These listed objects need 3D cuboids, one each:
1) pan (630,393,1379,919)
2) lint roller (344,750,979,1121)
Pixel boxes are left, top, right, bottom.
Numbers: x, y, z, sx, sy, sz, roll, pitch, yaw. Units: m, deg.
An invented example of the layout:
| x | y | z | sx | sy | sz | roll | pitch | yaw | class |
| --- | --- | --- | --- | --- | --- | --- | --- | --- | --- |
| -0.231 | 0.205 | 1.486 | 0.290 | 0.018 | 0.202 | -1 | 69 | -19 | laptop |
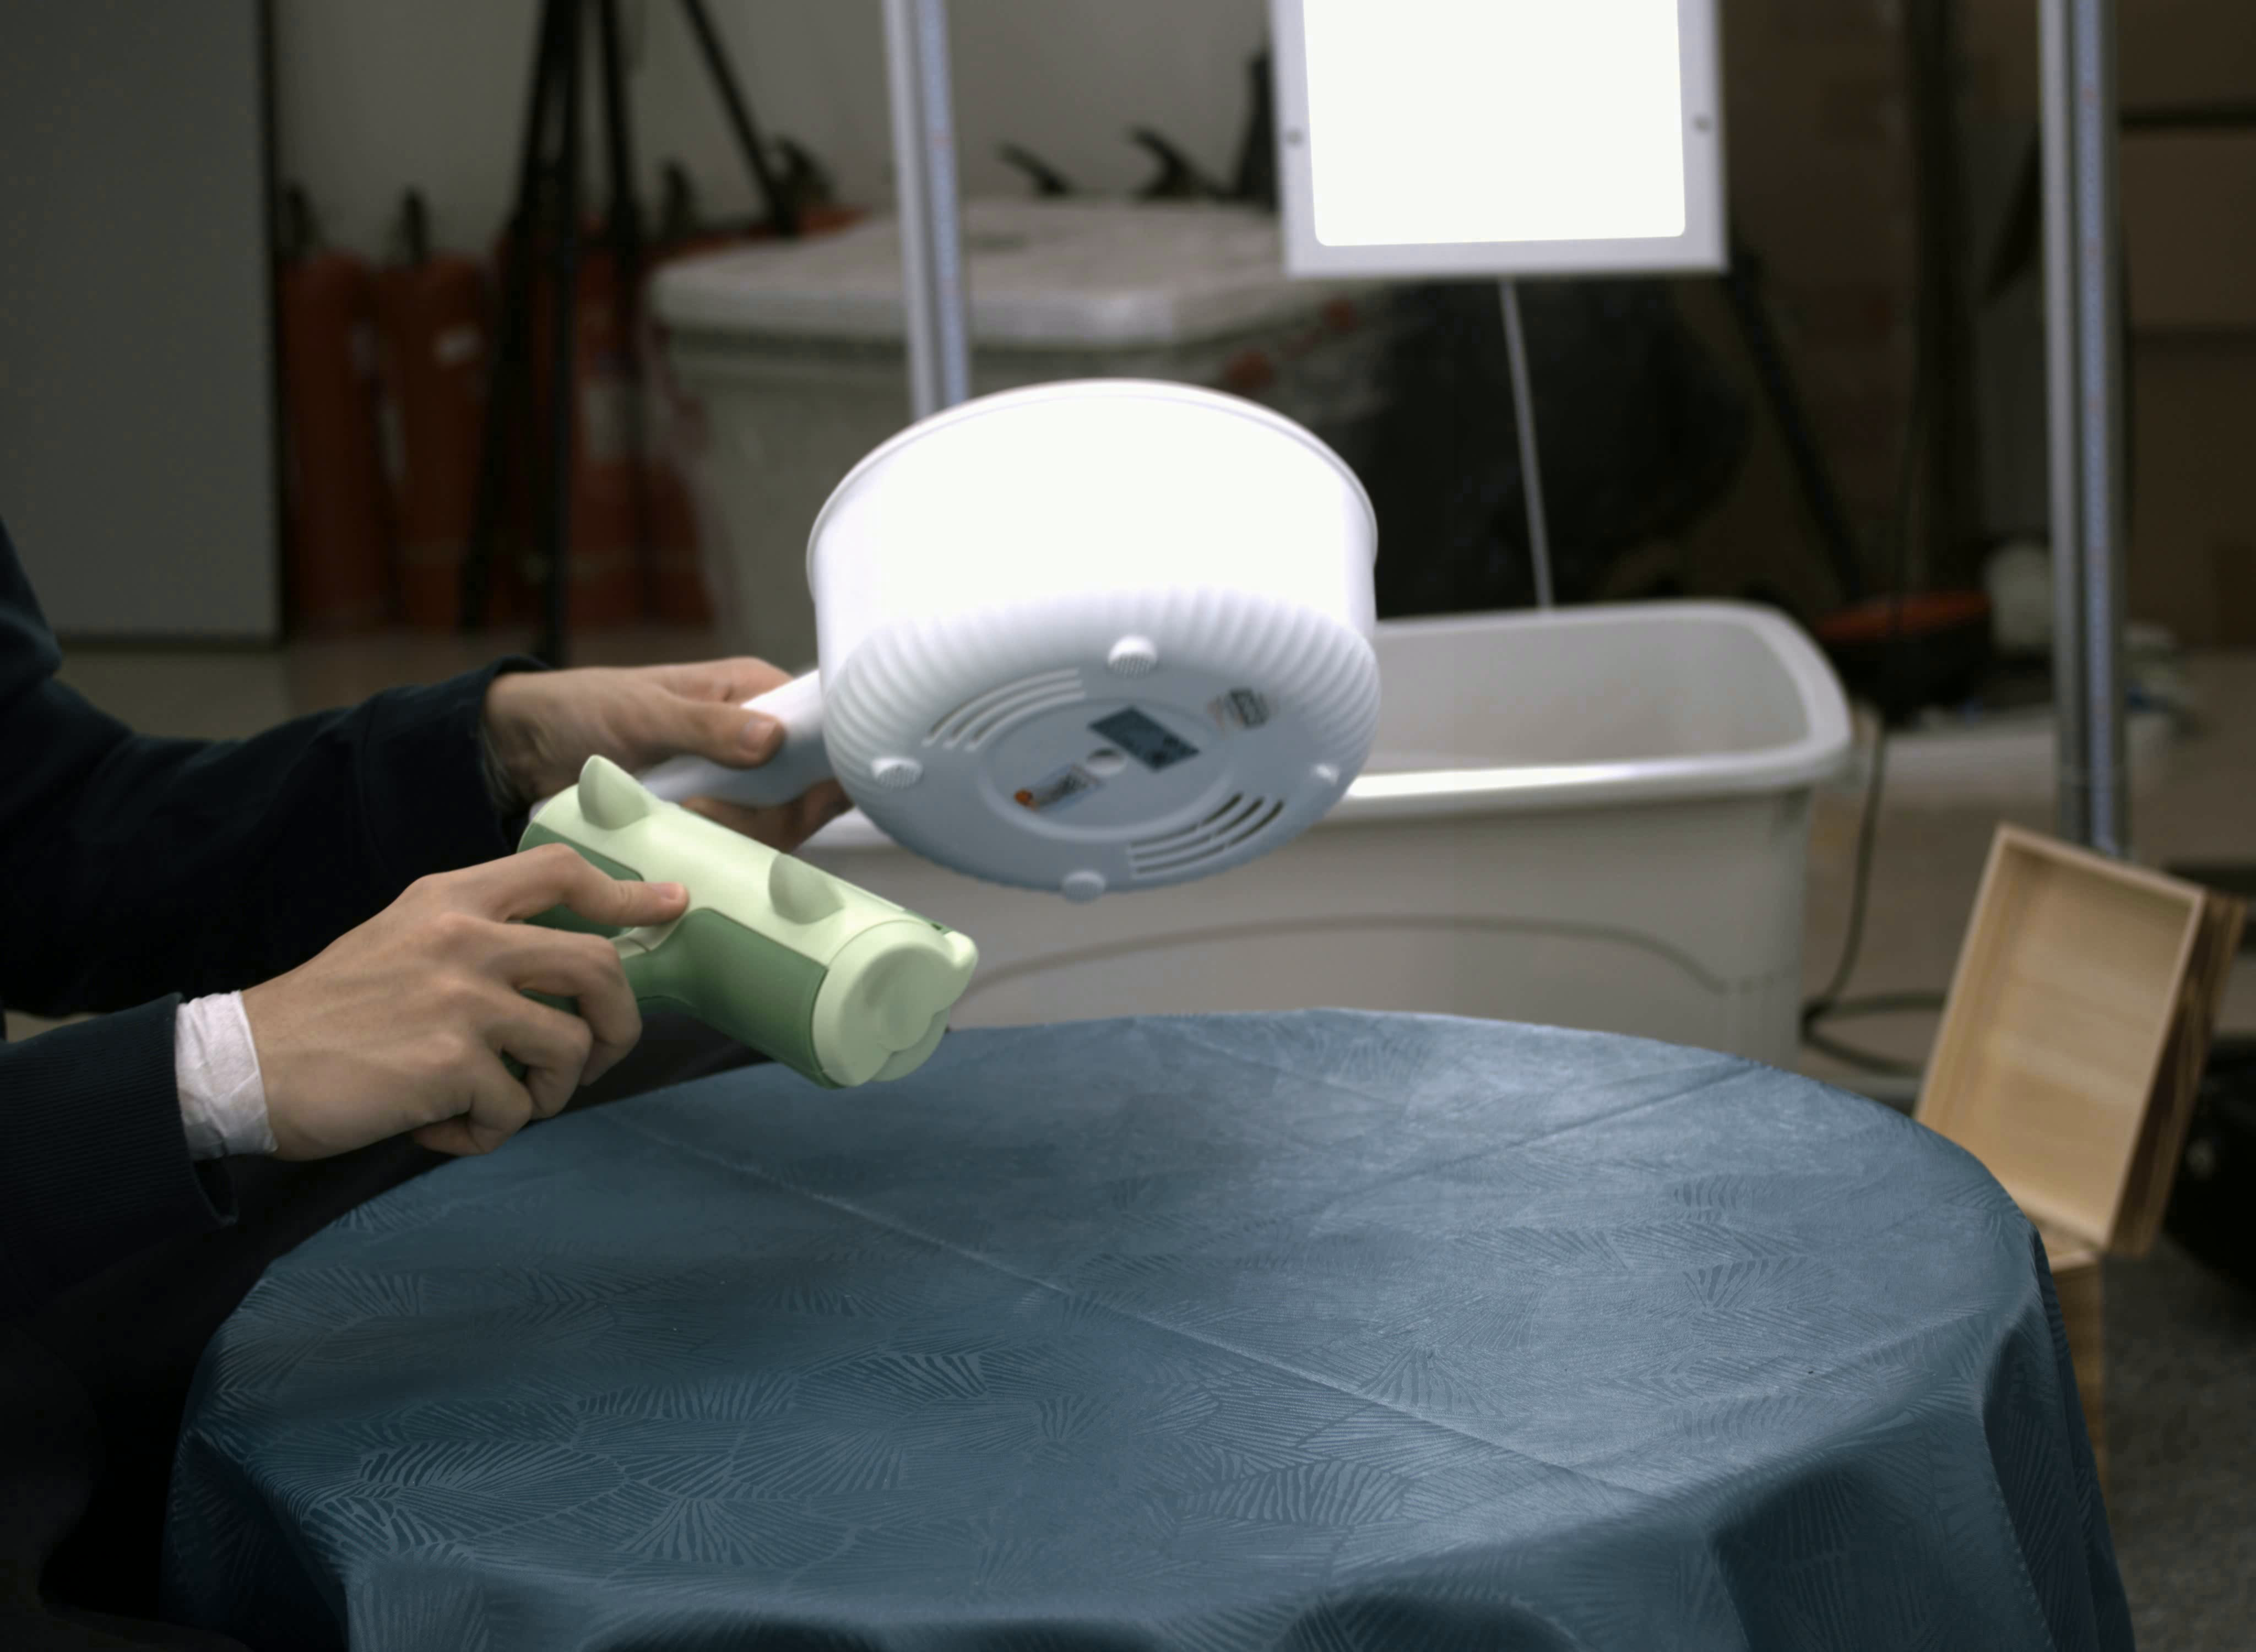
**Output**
| x | y | z | sx | sy | sz | roll | pitch | yaw | class |
| --- | --- | --- | --- | --- | --- | --- | --- | --- | --- |
| -0.071 | -0.022 | 1.946 | 0.362 | 0.102 | 0.197 | -26 | -38 | 31 | pan |
| -0.175 | 0.038 | 1.789 | 0.179 | 0.082 | 0.202 | -15 | 24 | -33 | lint roller |
